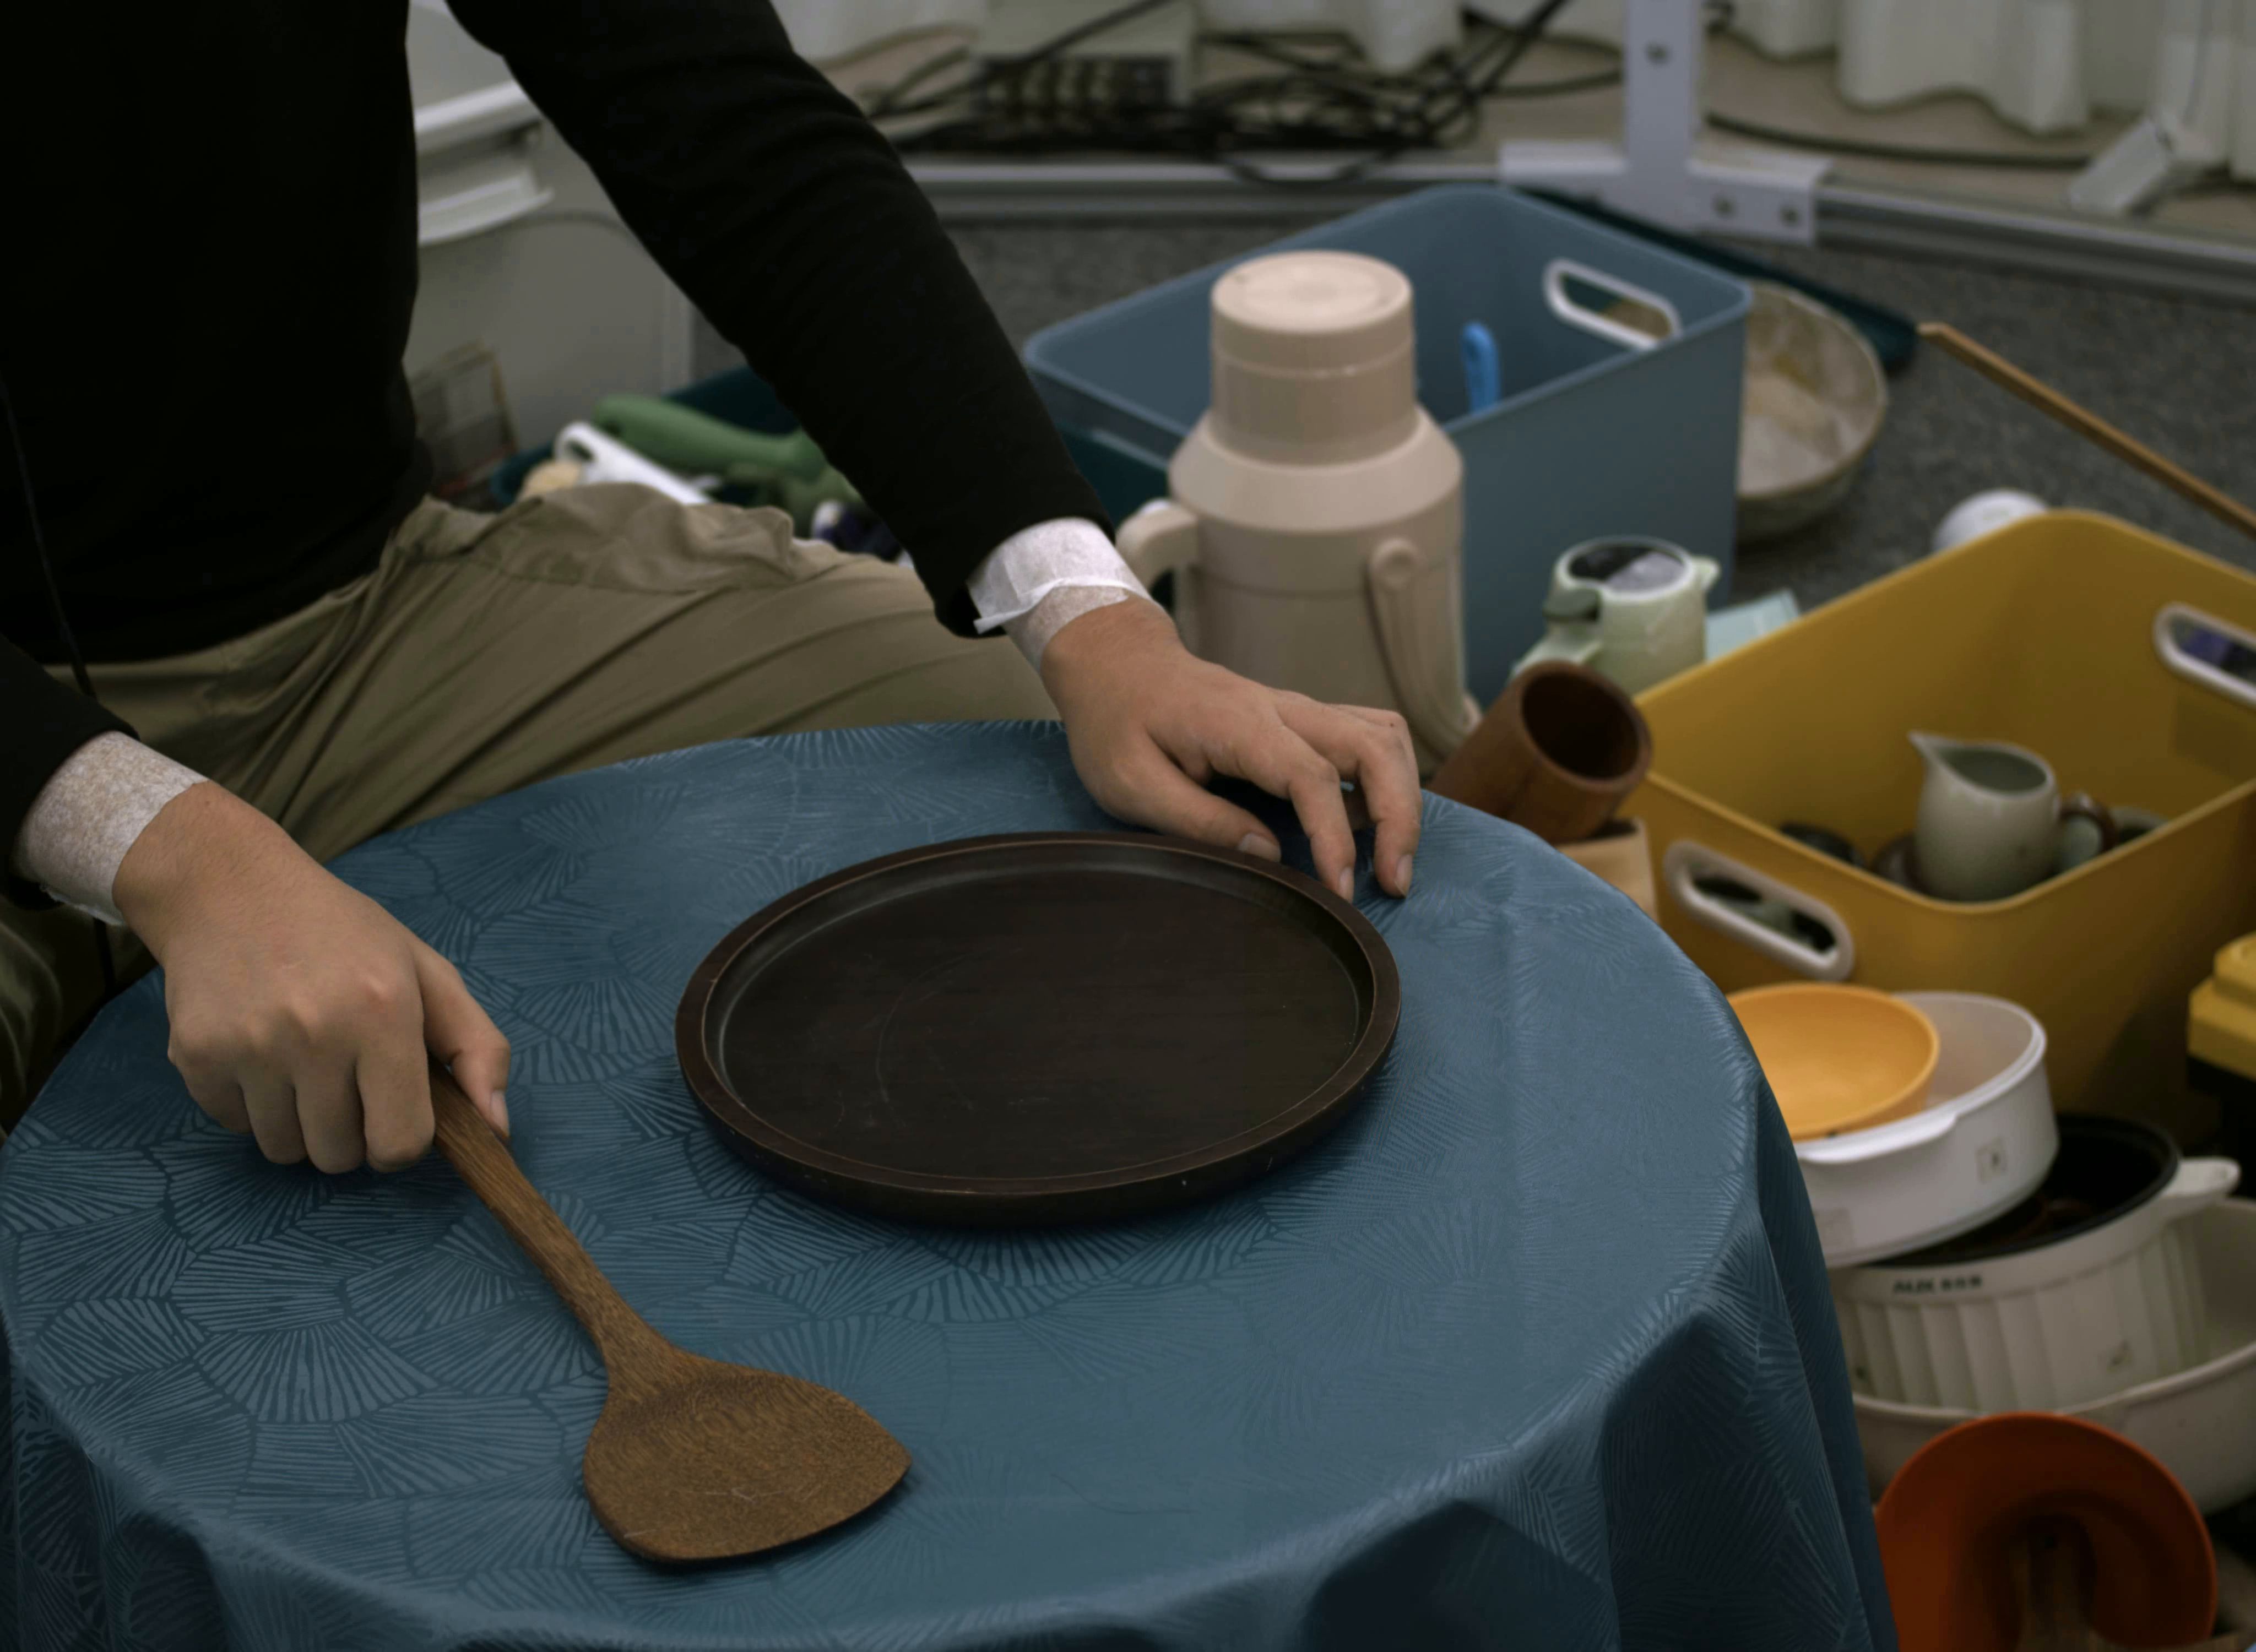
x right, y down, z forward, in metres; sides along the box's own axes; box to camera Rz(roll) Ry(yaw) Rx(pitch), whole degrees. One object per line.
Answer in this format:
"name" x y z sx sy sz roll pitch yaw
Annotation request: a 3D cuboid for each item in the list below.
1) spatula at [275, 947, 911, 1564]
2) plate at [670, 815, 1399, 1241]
"spatula" -0.195 0.130 1.827 0.096 0.015 0.388 -17 35 -26
"plate" -0.032 0.070 1.940 0.253 0.029 0.259 -2 29 2
